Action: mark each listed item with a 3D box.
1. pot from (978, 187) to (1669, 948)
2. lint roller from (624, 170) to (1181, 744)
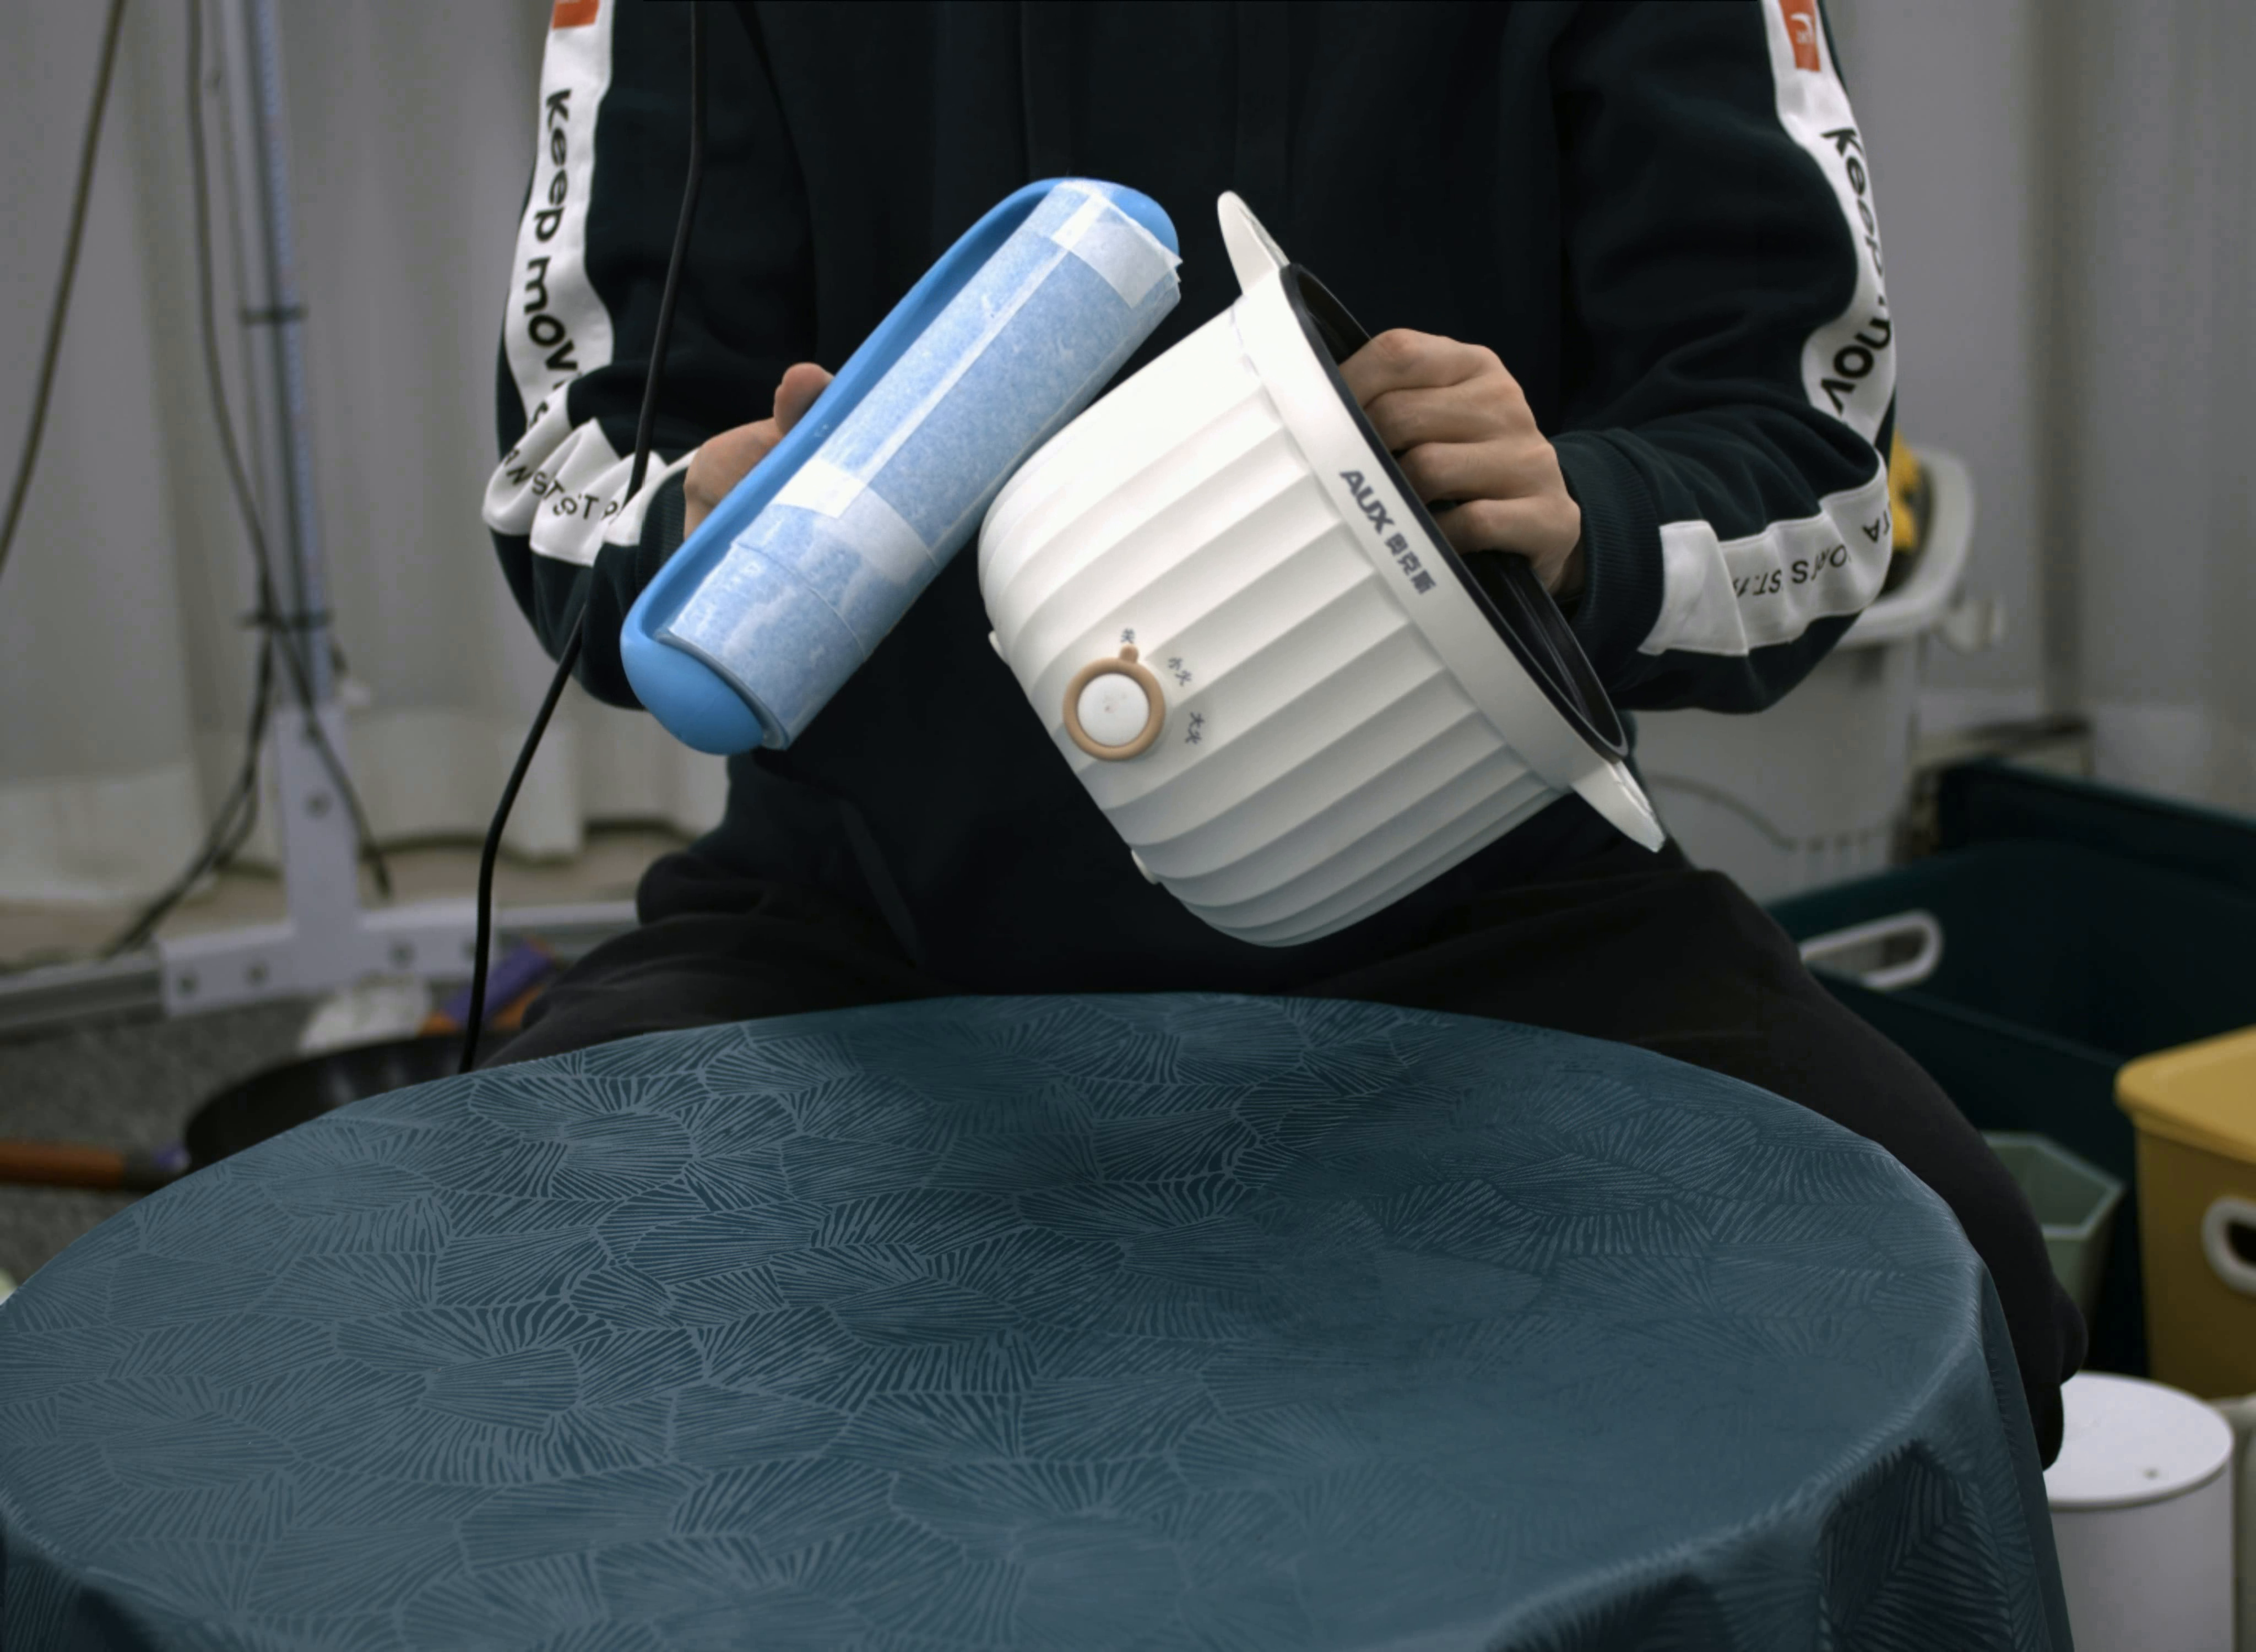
[{"bbox_3d":[0.046,-0.058,1.658,0.142,0.241,0.190,-35,-4,7],"label":"pot"},{"bbox_3d":[-0.083,-0.106,1.732,0.230,0.067,0.180,-51,10,-20],"label":"lint roller"}]
